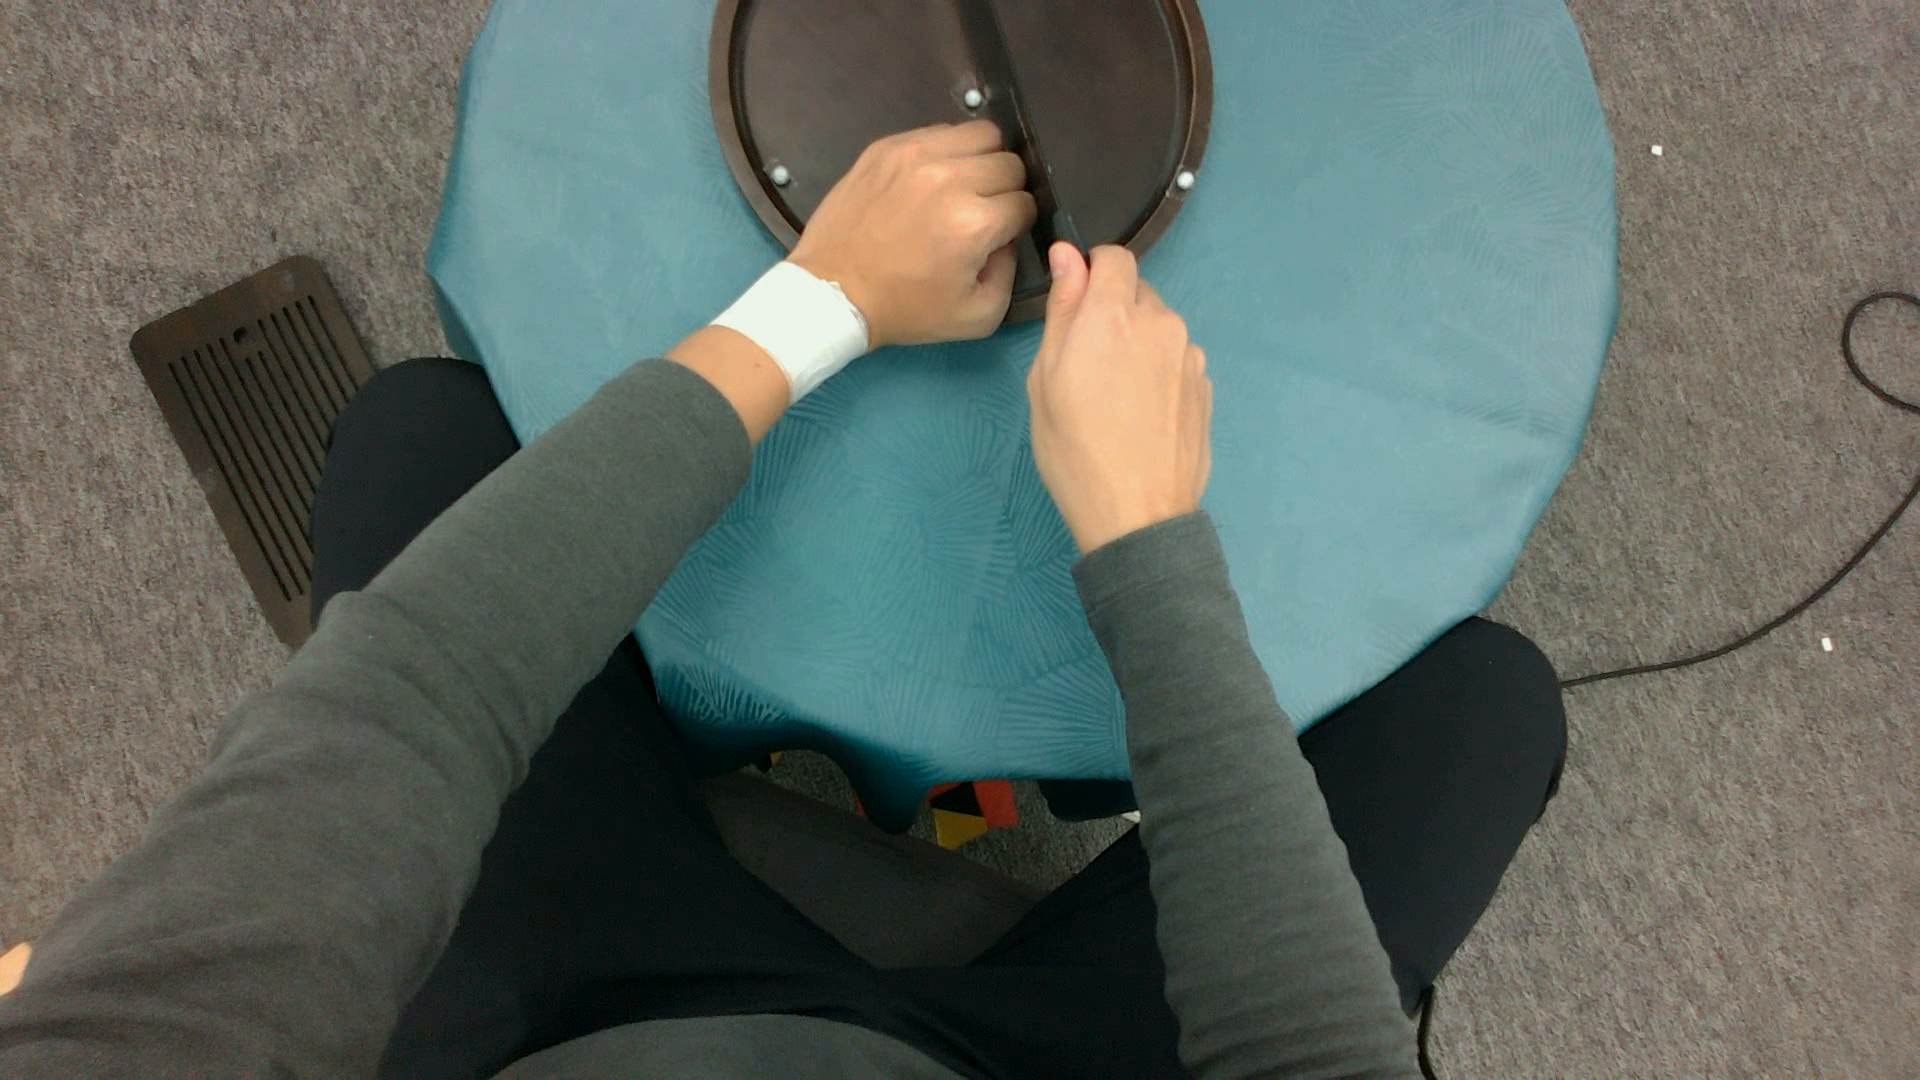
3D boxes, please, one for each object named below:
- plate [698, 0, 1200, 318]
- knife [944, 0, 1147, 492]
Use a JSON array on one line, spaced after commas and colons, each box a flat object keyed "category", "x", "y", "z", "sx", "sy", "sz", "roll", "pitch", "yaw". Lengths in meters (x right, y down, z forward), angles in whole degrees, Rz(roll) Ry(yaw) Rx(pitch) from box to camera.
[{"category": "plate", "x": -0.004, "y": -0.235, "z": 0.697, "sx": 0.255, "sy": 0.029, "sz": 0.255, "roll": 1, "pitch": 83, "yaw": -7}, {"category": "knife", "x": 0.029, "y": -0.167, "z": 0.643, "sx": 0.021, "sy": 0.081, "sz": 0.302, "roll": -17, "pitch": 81, "yaw": -7}]
